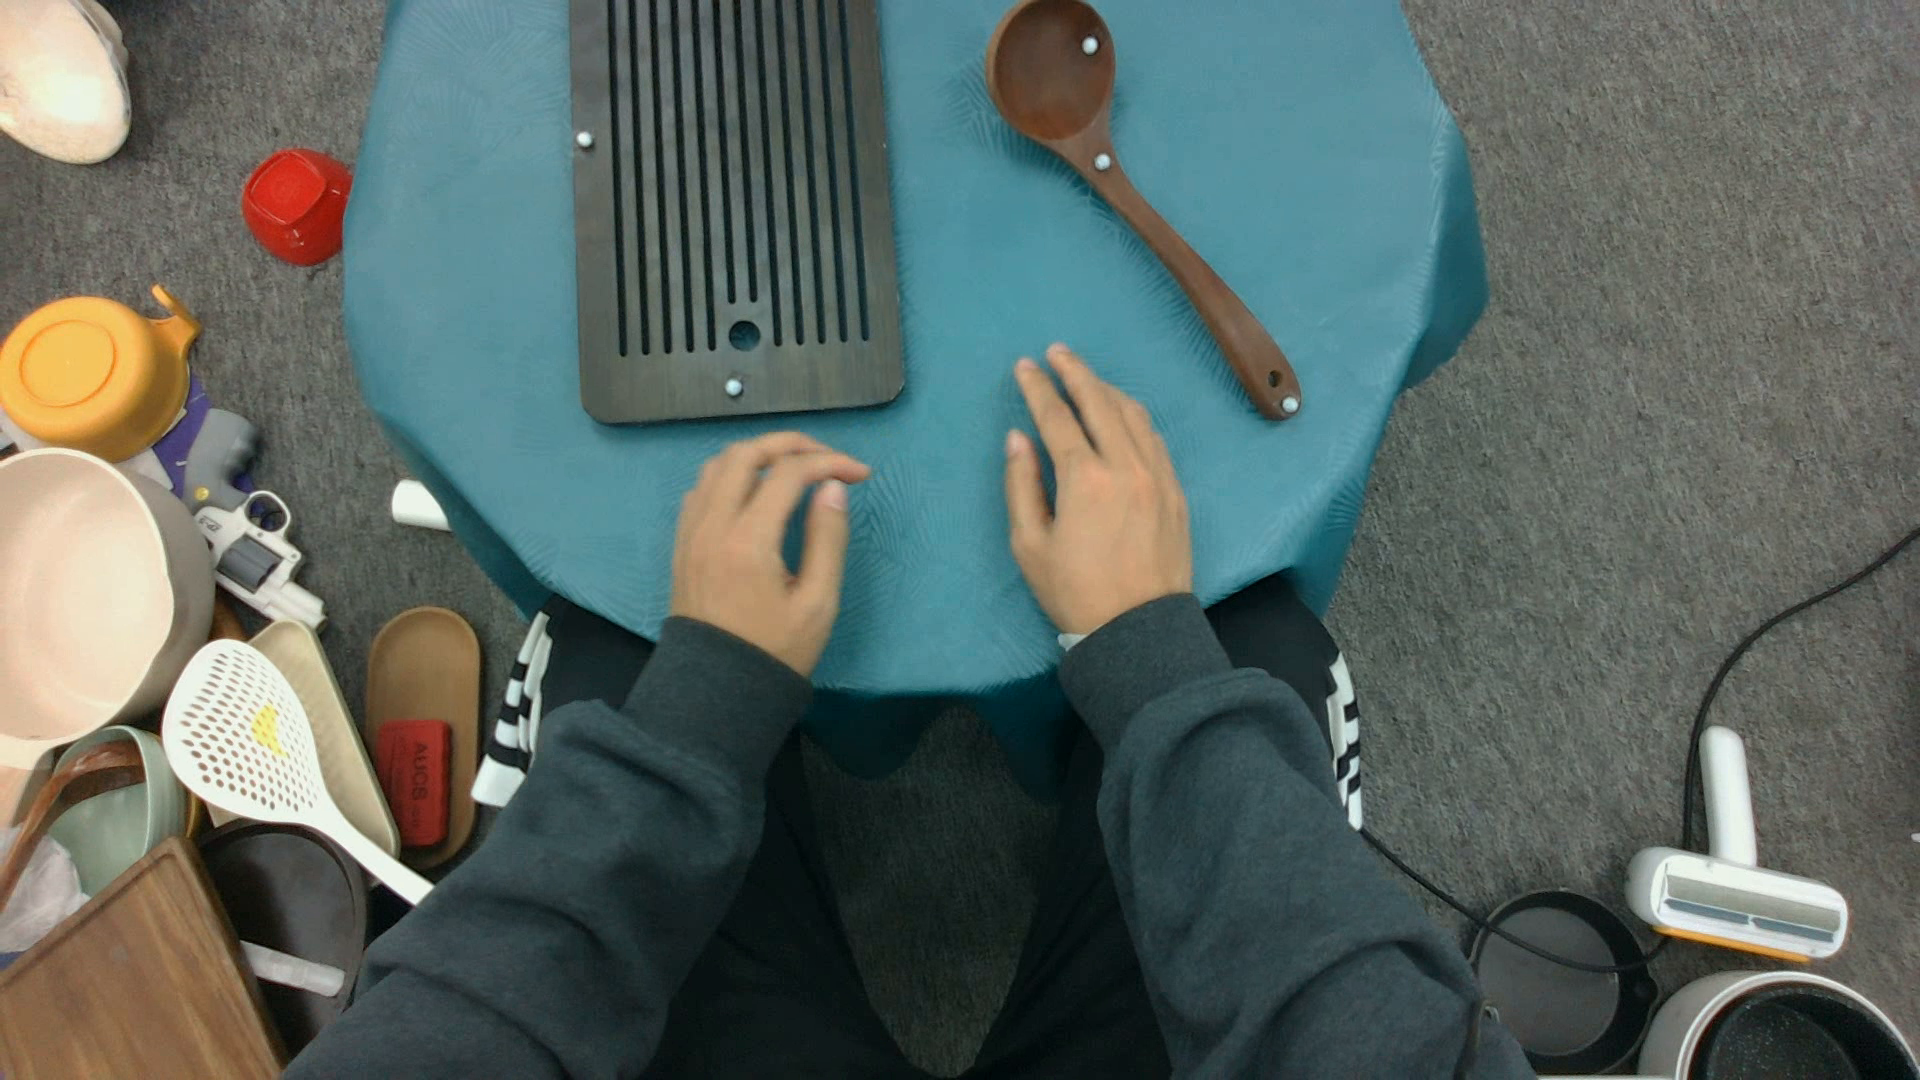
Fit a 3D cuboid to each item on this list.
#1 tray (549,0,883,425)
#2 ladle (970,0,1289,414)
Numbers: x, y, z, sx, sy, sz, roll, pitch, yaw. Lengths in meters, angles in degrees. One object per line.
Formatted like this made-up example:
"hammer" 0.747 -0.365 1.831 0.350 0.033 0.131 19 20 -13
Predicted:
"tray" -0.136 -0.213 0.755 0.170 0.018 0.306 -4 77 -2
"ladle" 0.096 -0.179 0.729 0.076 0.065 0.260 -34 80 -8
